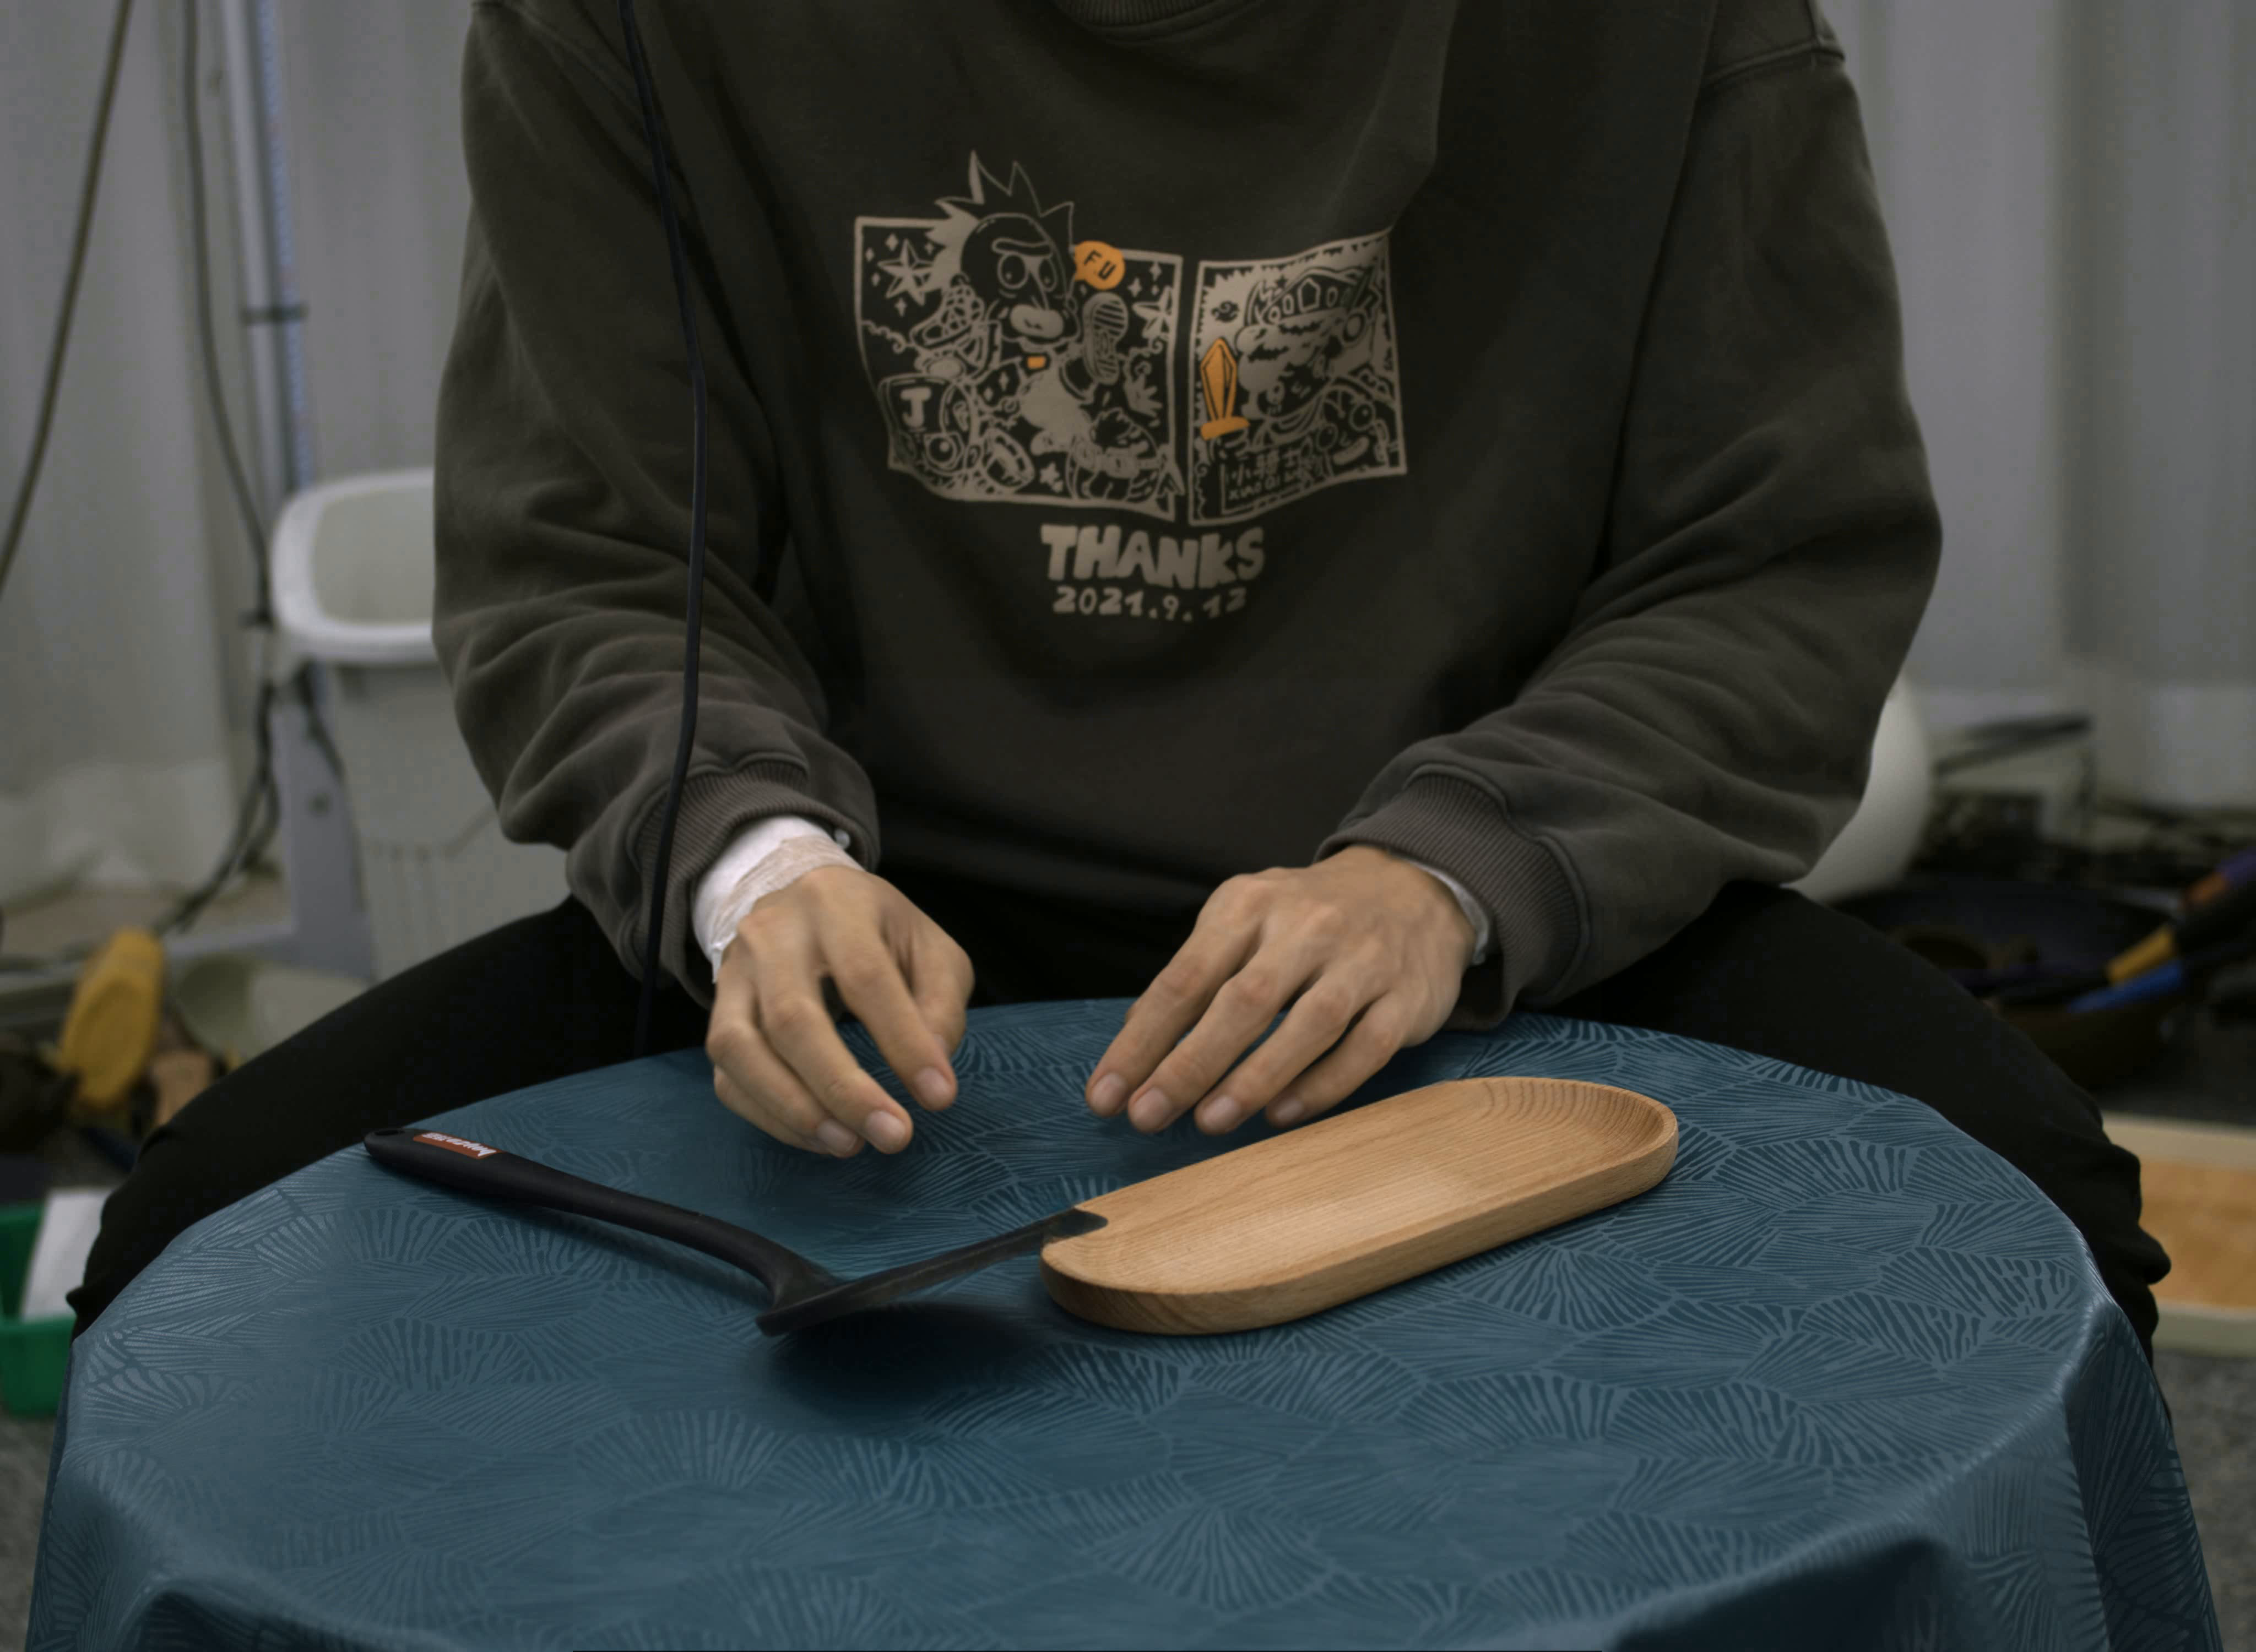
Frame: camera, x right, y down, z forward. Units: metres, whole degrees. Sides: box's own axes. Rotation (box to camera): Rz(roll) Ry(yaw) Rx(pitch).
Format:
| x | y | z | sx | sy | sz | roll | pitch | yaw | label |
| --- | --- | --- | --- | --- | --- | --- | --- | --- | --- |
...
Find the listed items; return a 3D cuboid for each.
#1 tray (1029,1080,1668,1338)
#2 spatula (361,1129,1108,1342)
| x | y | z | sx | sy | sz | roll | pitch | yaw | label |
| --- | --- | --- | --- | --- | --- | --- | --- | --- | --- |
| 0.070 | 0.116 | 1.672 | 0.230 | 0.020 | 0.102 | -17 | 20 | -39 | tray |
| -0.142 | 0.116 | 1.675 | 0.099 | 0.040 | 0.328 | -13 | 18 | -39 | spatula |
